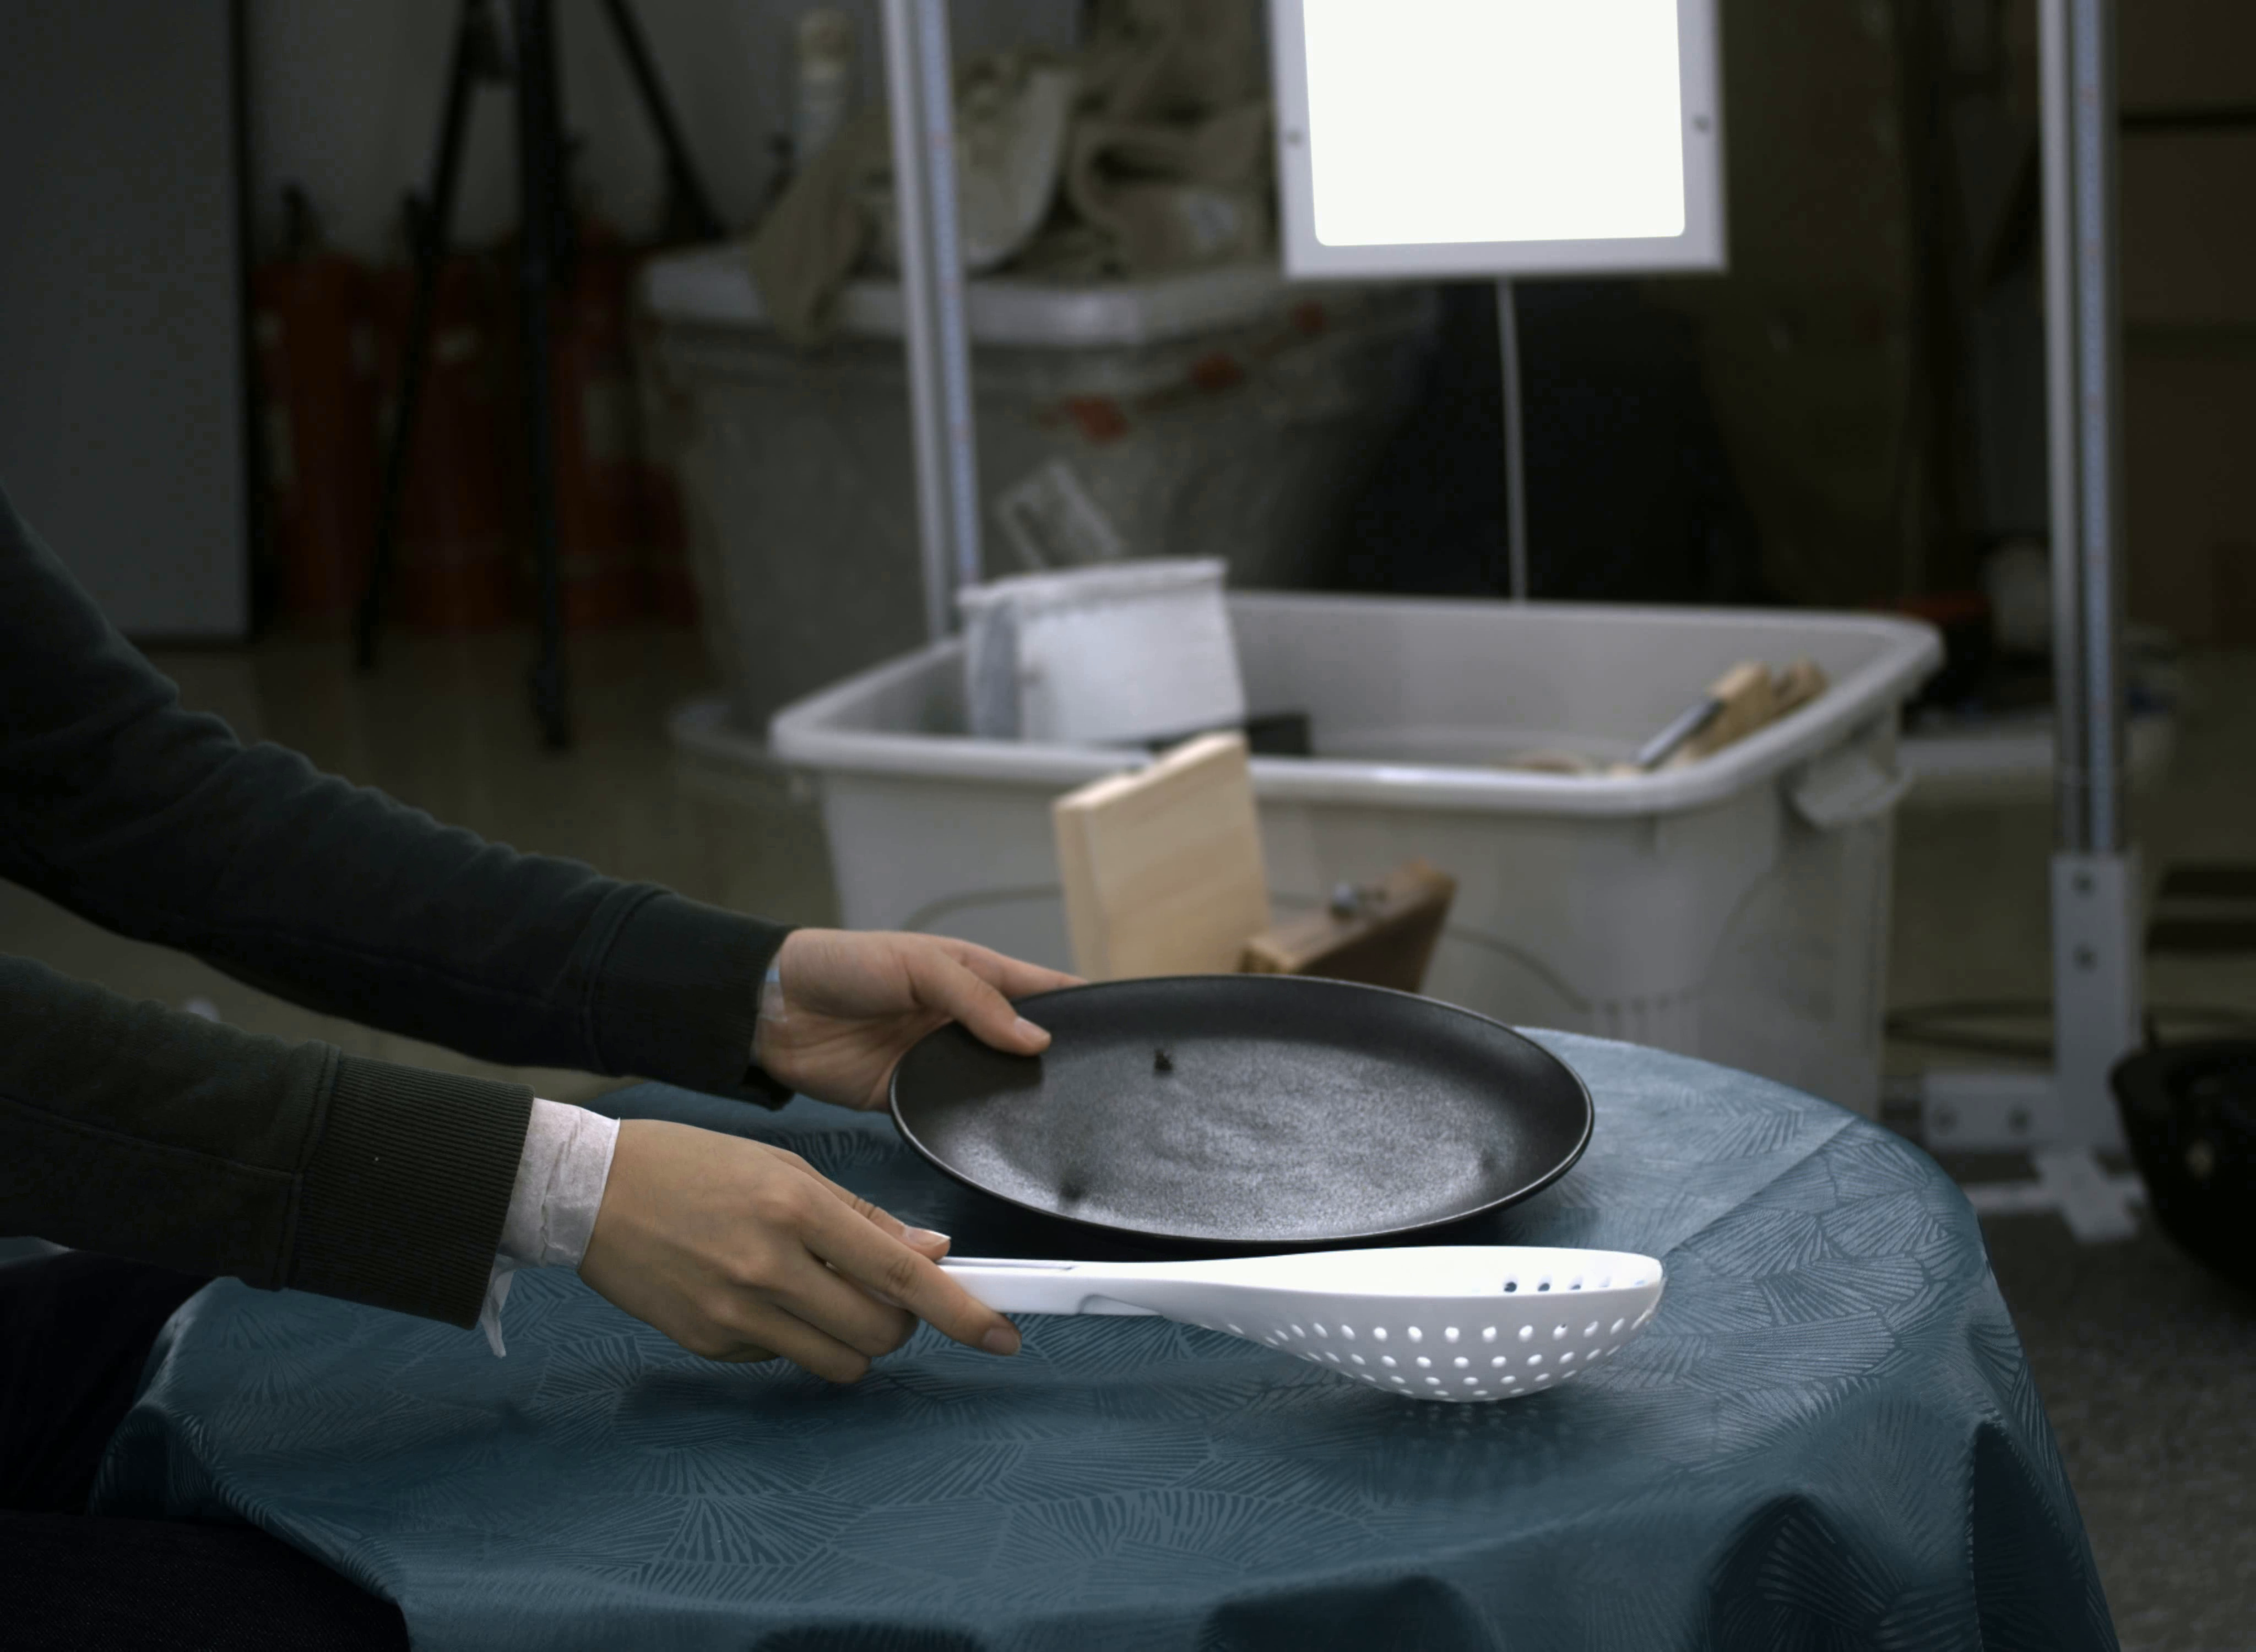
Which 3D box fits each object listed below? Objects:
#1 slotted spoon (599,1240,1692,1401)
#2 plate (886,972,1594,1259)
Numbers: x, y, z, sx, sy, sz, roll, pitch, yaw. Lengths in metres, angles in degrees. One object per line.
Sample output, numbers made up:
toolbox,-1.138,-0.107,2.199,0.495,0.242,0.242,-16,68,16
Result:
slotted spoon,0.000,0.141,1.697,0.354,0.046,0.134,5,3,20
plate,0.038,0.102,1.885,0.243,0.023,0.244,0,19,-1
